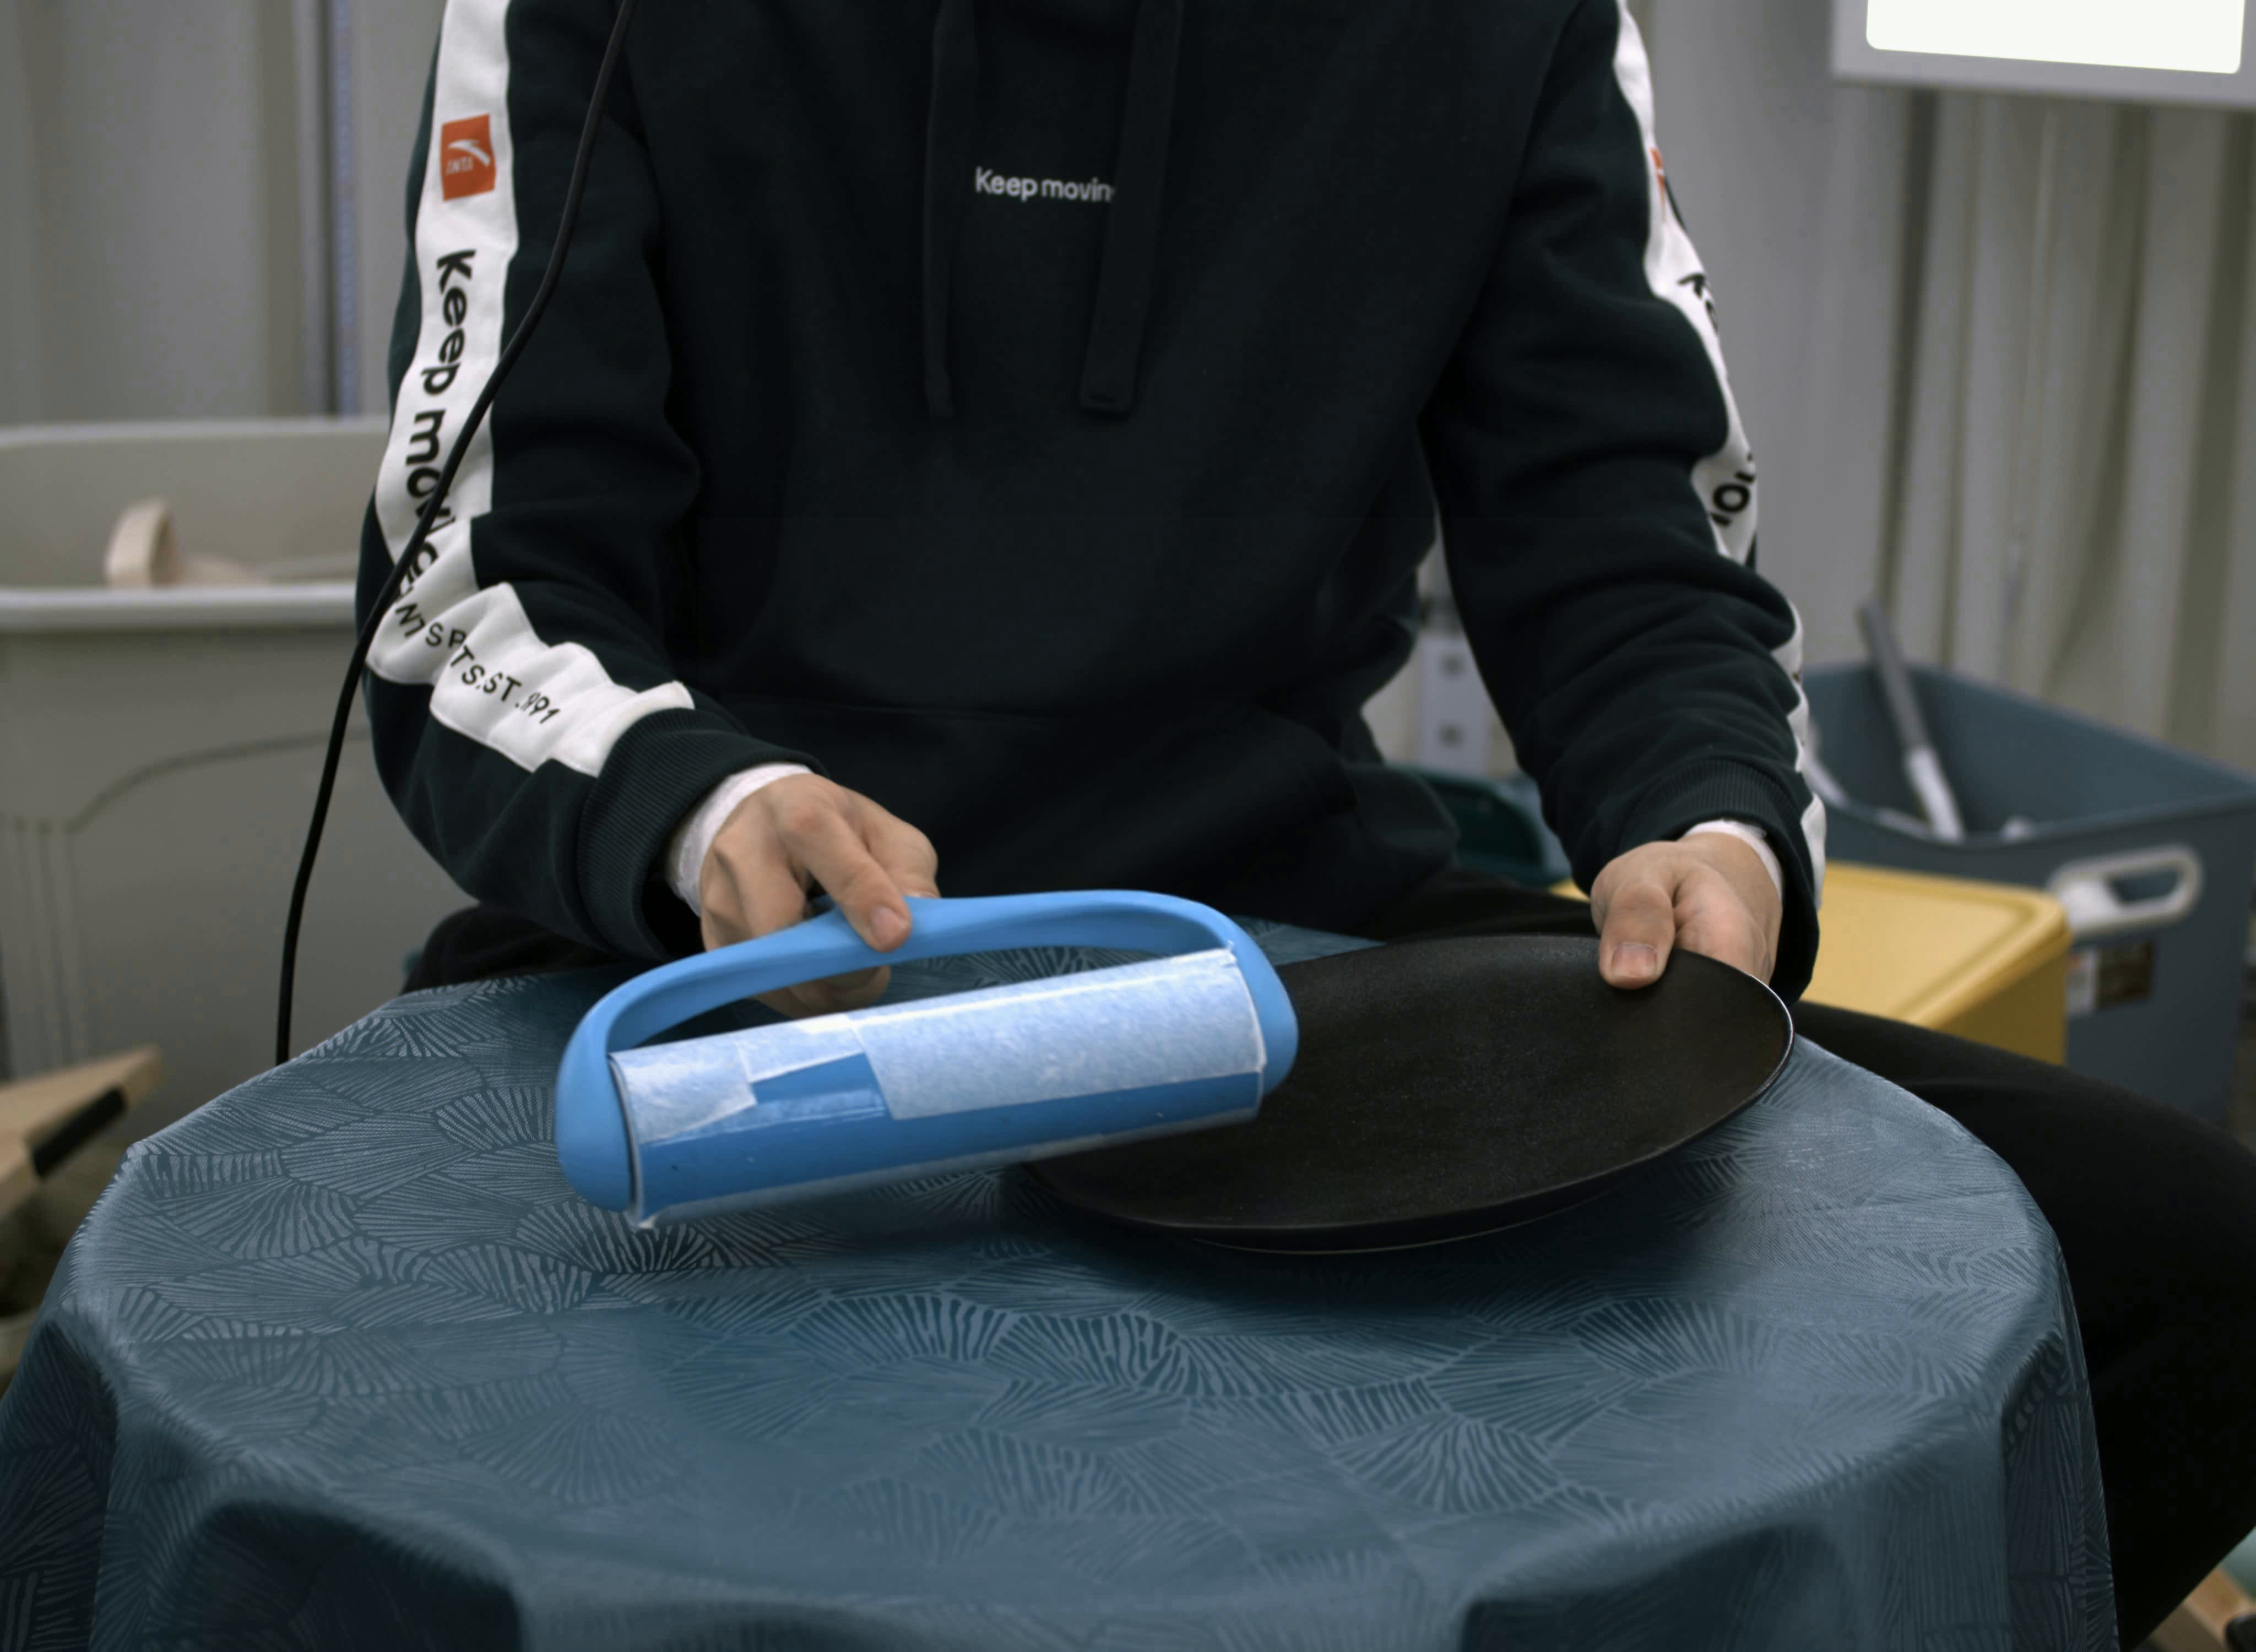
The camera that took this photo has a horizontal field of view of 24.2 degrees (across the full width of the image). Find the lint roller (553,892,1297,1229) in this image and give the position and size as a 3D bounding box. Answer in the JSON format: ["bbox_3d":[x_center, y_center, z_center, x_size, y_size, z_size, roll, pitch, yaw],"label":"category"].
[{"bbox_3d":[-0.079,0.055,1.619,0.229,0.068,0.178,-11,25,-18],"label":"lint roller"}]

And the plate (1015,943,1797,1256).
[{"bbox_3d":[0.086,0.086,1.621,0.243,0.023,0.243,-8,17,3],"label":"plate"}]
